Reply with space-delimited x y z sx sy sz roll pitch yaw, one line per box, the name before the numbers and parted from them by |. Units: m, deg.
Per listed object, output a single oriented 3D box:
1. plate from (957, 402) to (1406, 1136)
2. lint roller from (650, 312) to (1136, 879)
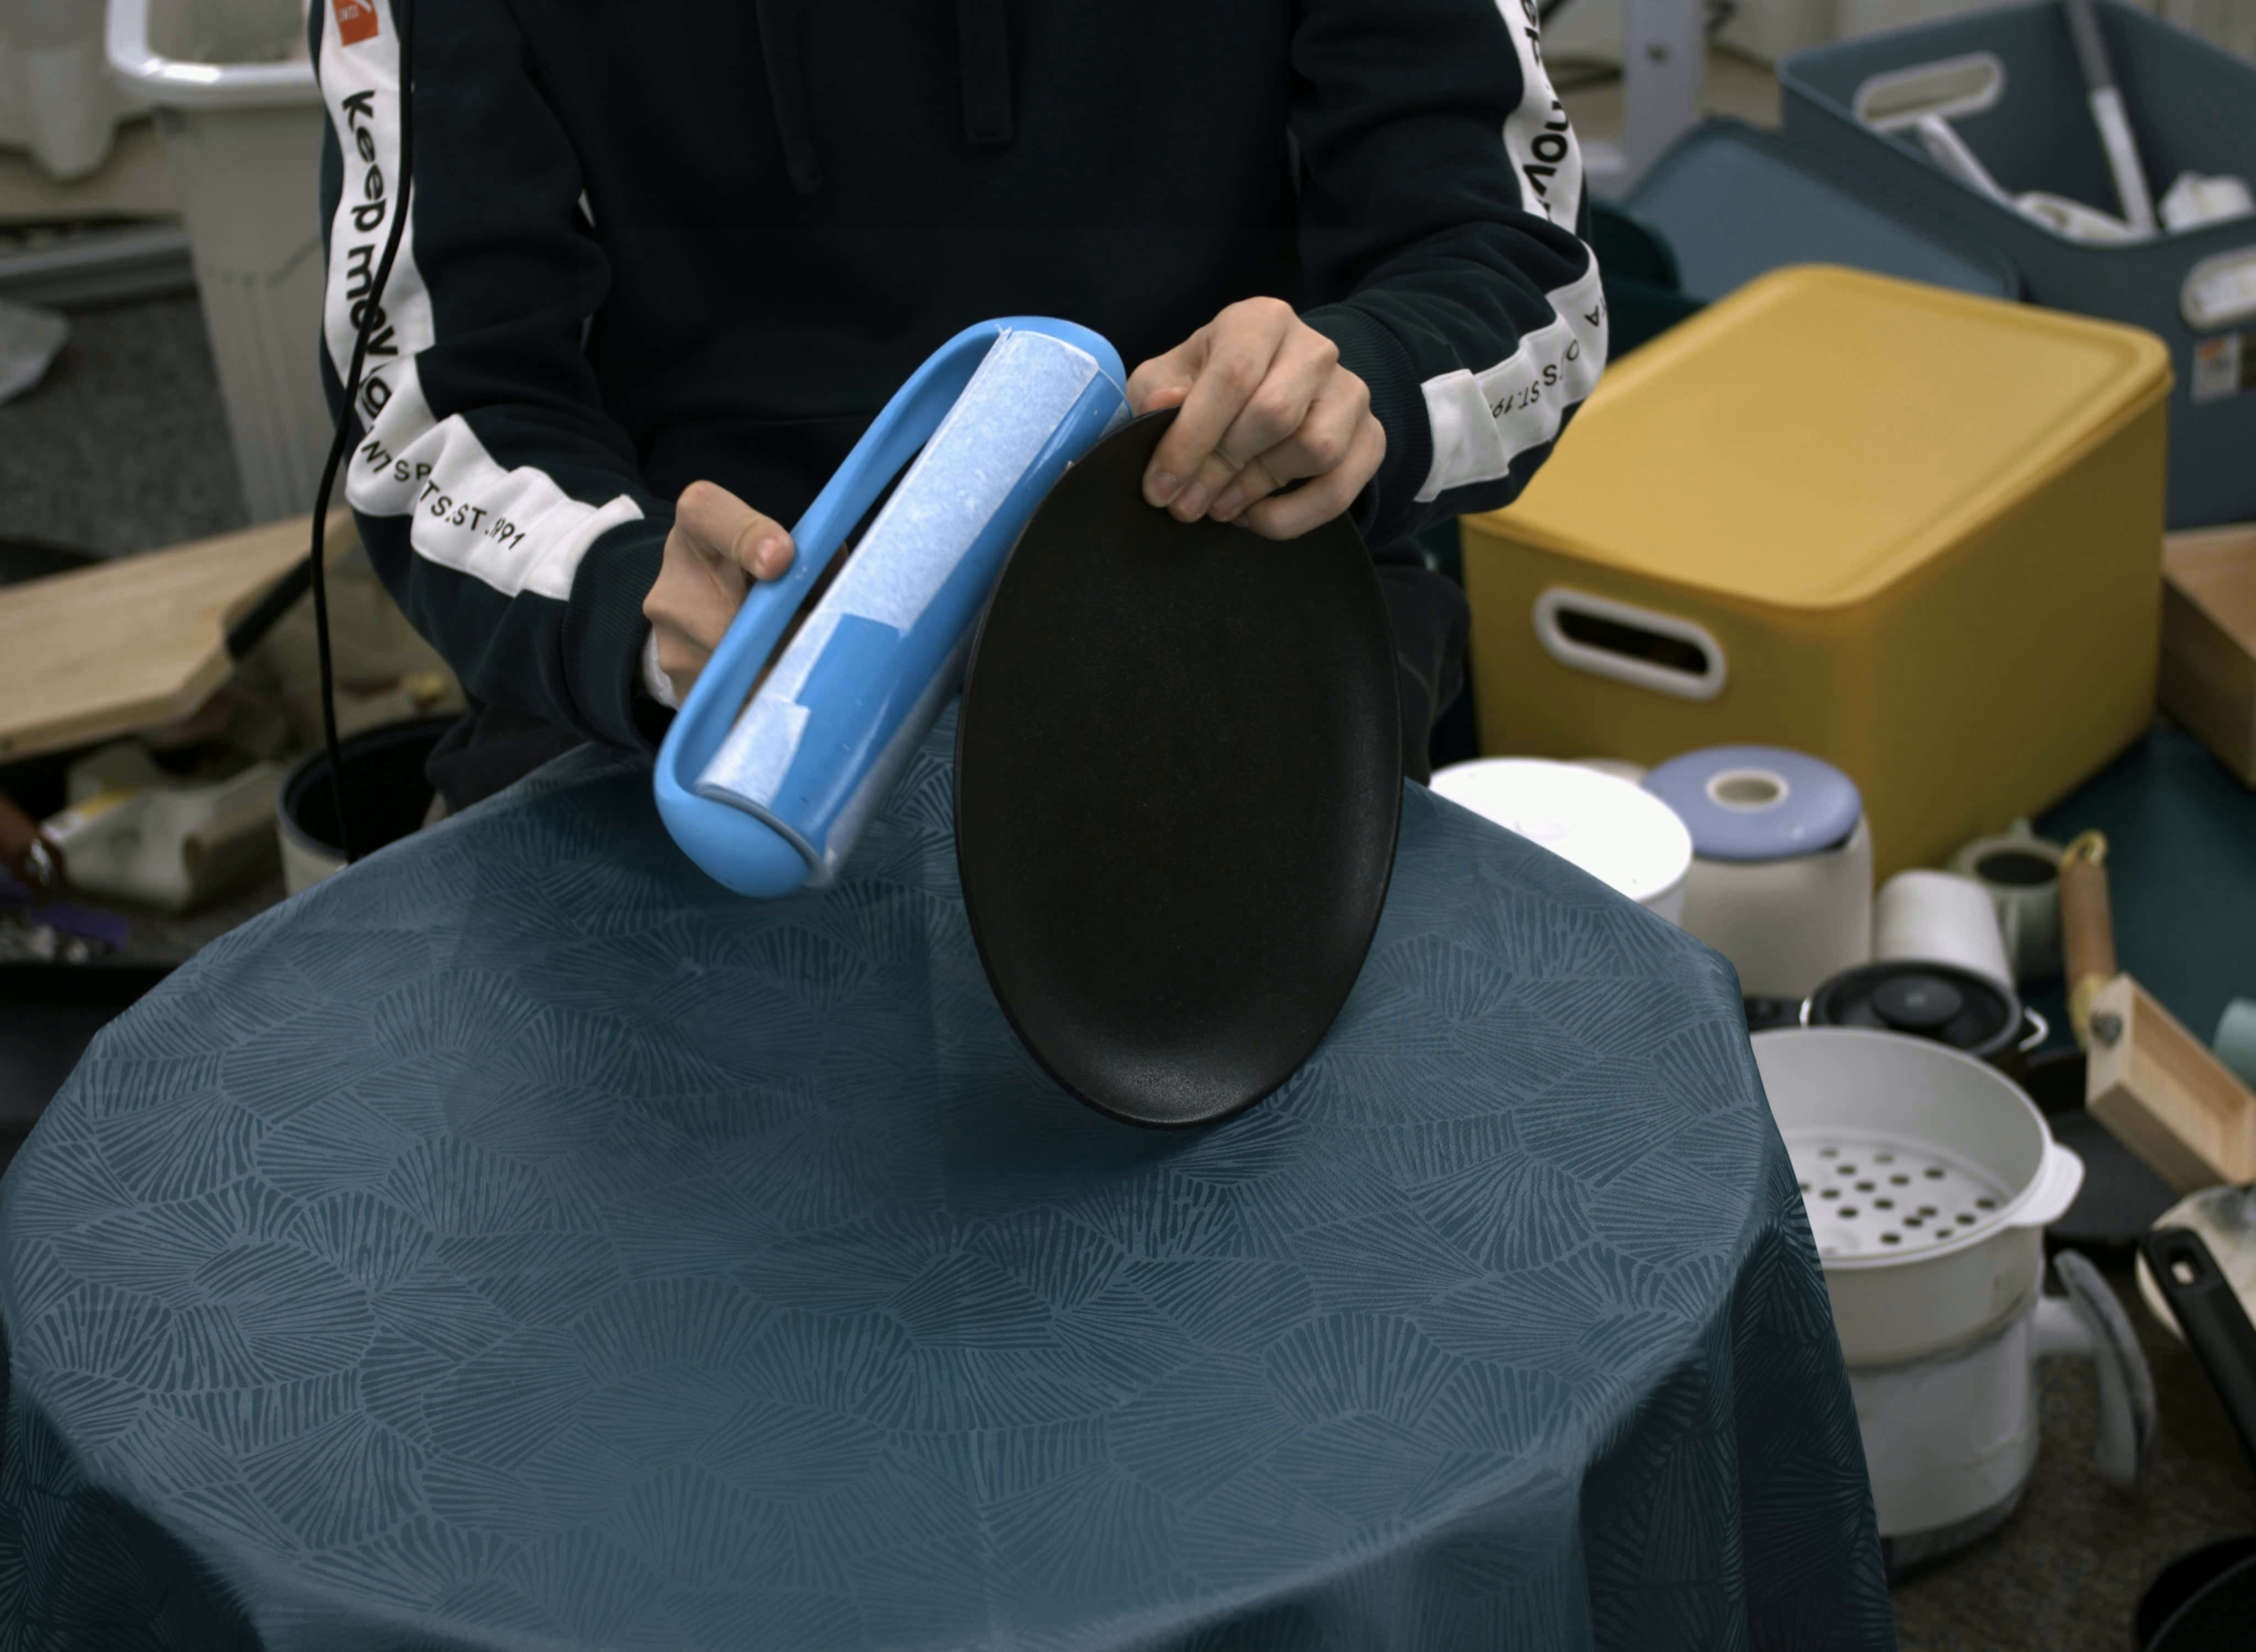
plate | 0.014 -0.020 1.882 0.023 0.243 0.248 1 24 38
lint roller | -0.096 -0.067 1.880 0.232 0.067 0.178 -58 17 -25
